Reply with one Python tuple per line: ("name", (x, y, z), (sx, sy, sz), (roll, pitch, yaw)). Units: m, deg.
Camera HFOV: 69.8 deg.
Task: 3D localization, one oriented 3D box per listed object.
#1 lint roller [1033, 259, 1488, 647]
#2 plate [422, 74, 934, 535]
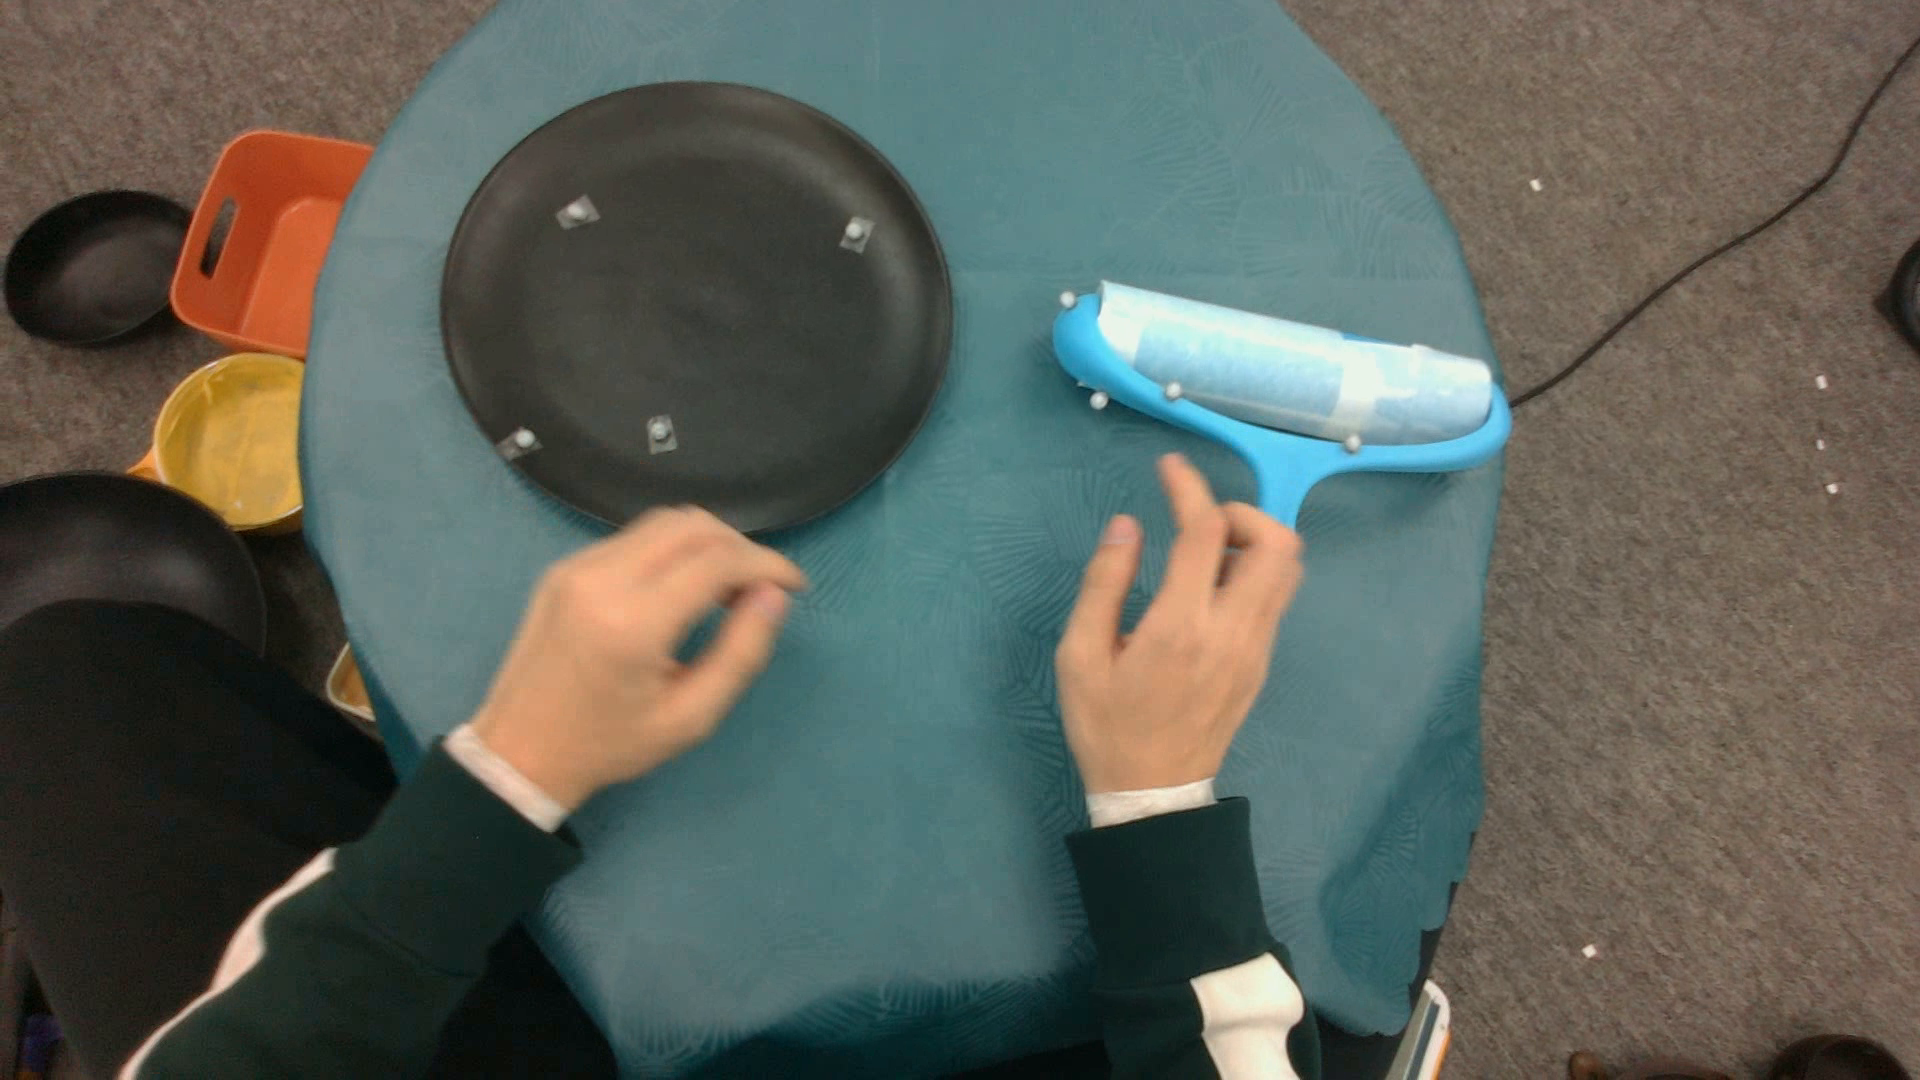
("lint roller", (0.144, -0.041, 0.669), (0.229, 0.068, 0.180), (7, 74, -5))
("plate", (-0.135, -0.117, 0.675), (0.244, 0.023, 0.245), (2, 74, -6))
